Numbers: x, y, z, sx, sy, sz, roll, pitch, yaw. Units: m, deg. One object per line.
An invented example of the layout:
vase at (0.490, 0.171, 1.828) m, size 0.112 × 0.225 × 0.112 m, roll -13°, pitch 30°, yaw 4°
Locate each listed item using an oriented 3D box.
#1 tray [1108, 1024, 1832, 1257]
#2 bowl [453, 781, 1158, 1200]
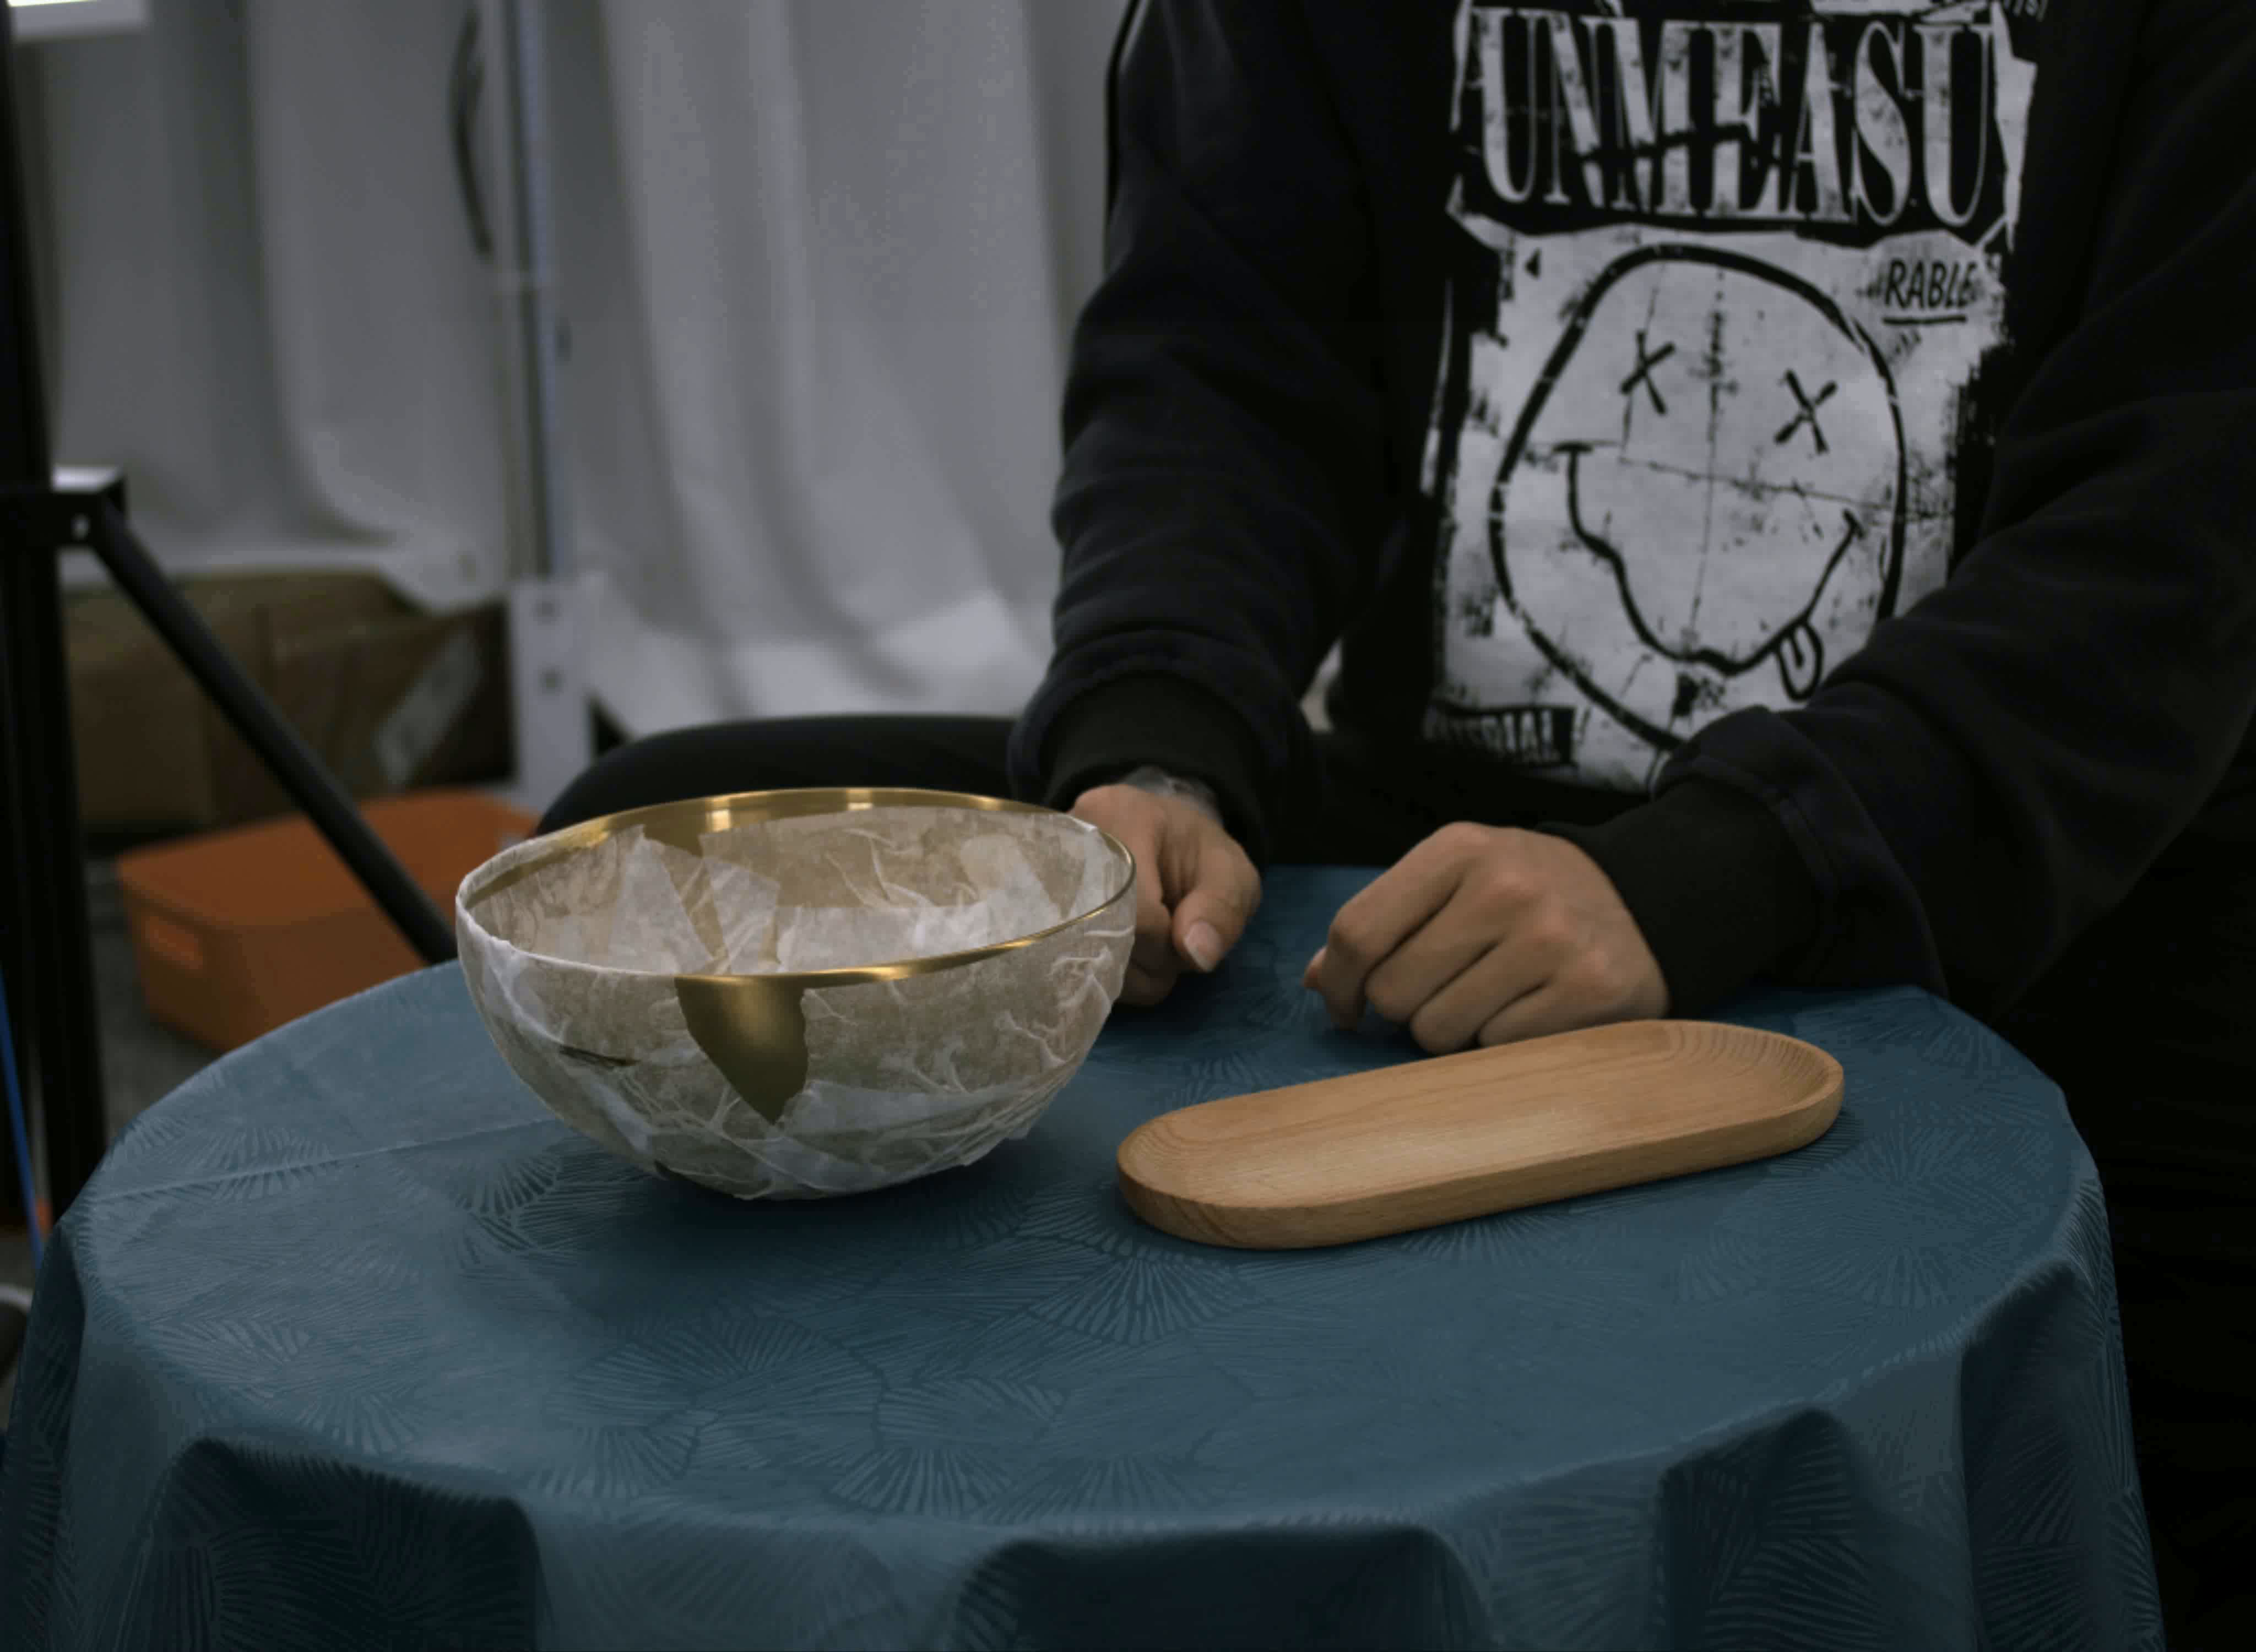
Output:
tray at (0.103, 0.093, 1.568) m, size 0.226 × 0.020 × 0.103 m, roll -12°, pitch 16°, yaw -23°
bowl at (-0.092, 0.057, 1.584) m, size 0.213 × 0.094 × 0.216 m, roll -3°, pitch 14°, yaw -1°
